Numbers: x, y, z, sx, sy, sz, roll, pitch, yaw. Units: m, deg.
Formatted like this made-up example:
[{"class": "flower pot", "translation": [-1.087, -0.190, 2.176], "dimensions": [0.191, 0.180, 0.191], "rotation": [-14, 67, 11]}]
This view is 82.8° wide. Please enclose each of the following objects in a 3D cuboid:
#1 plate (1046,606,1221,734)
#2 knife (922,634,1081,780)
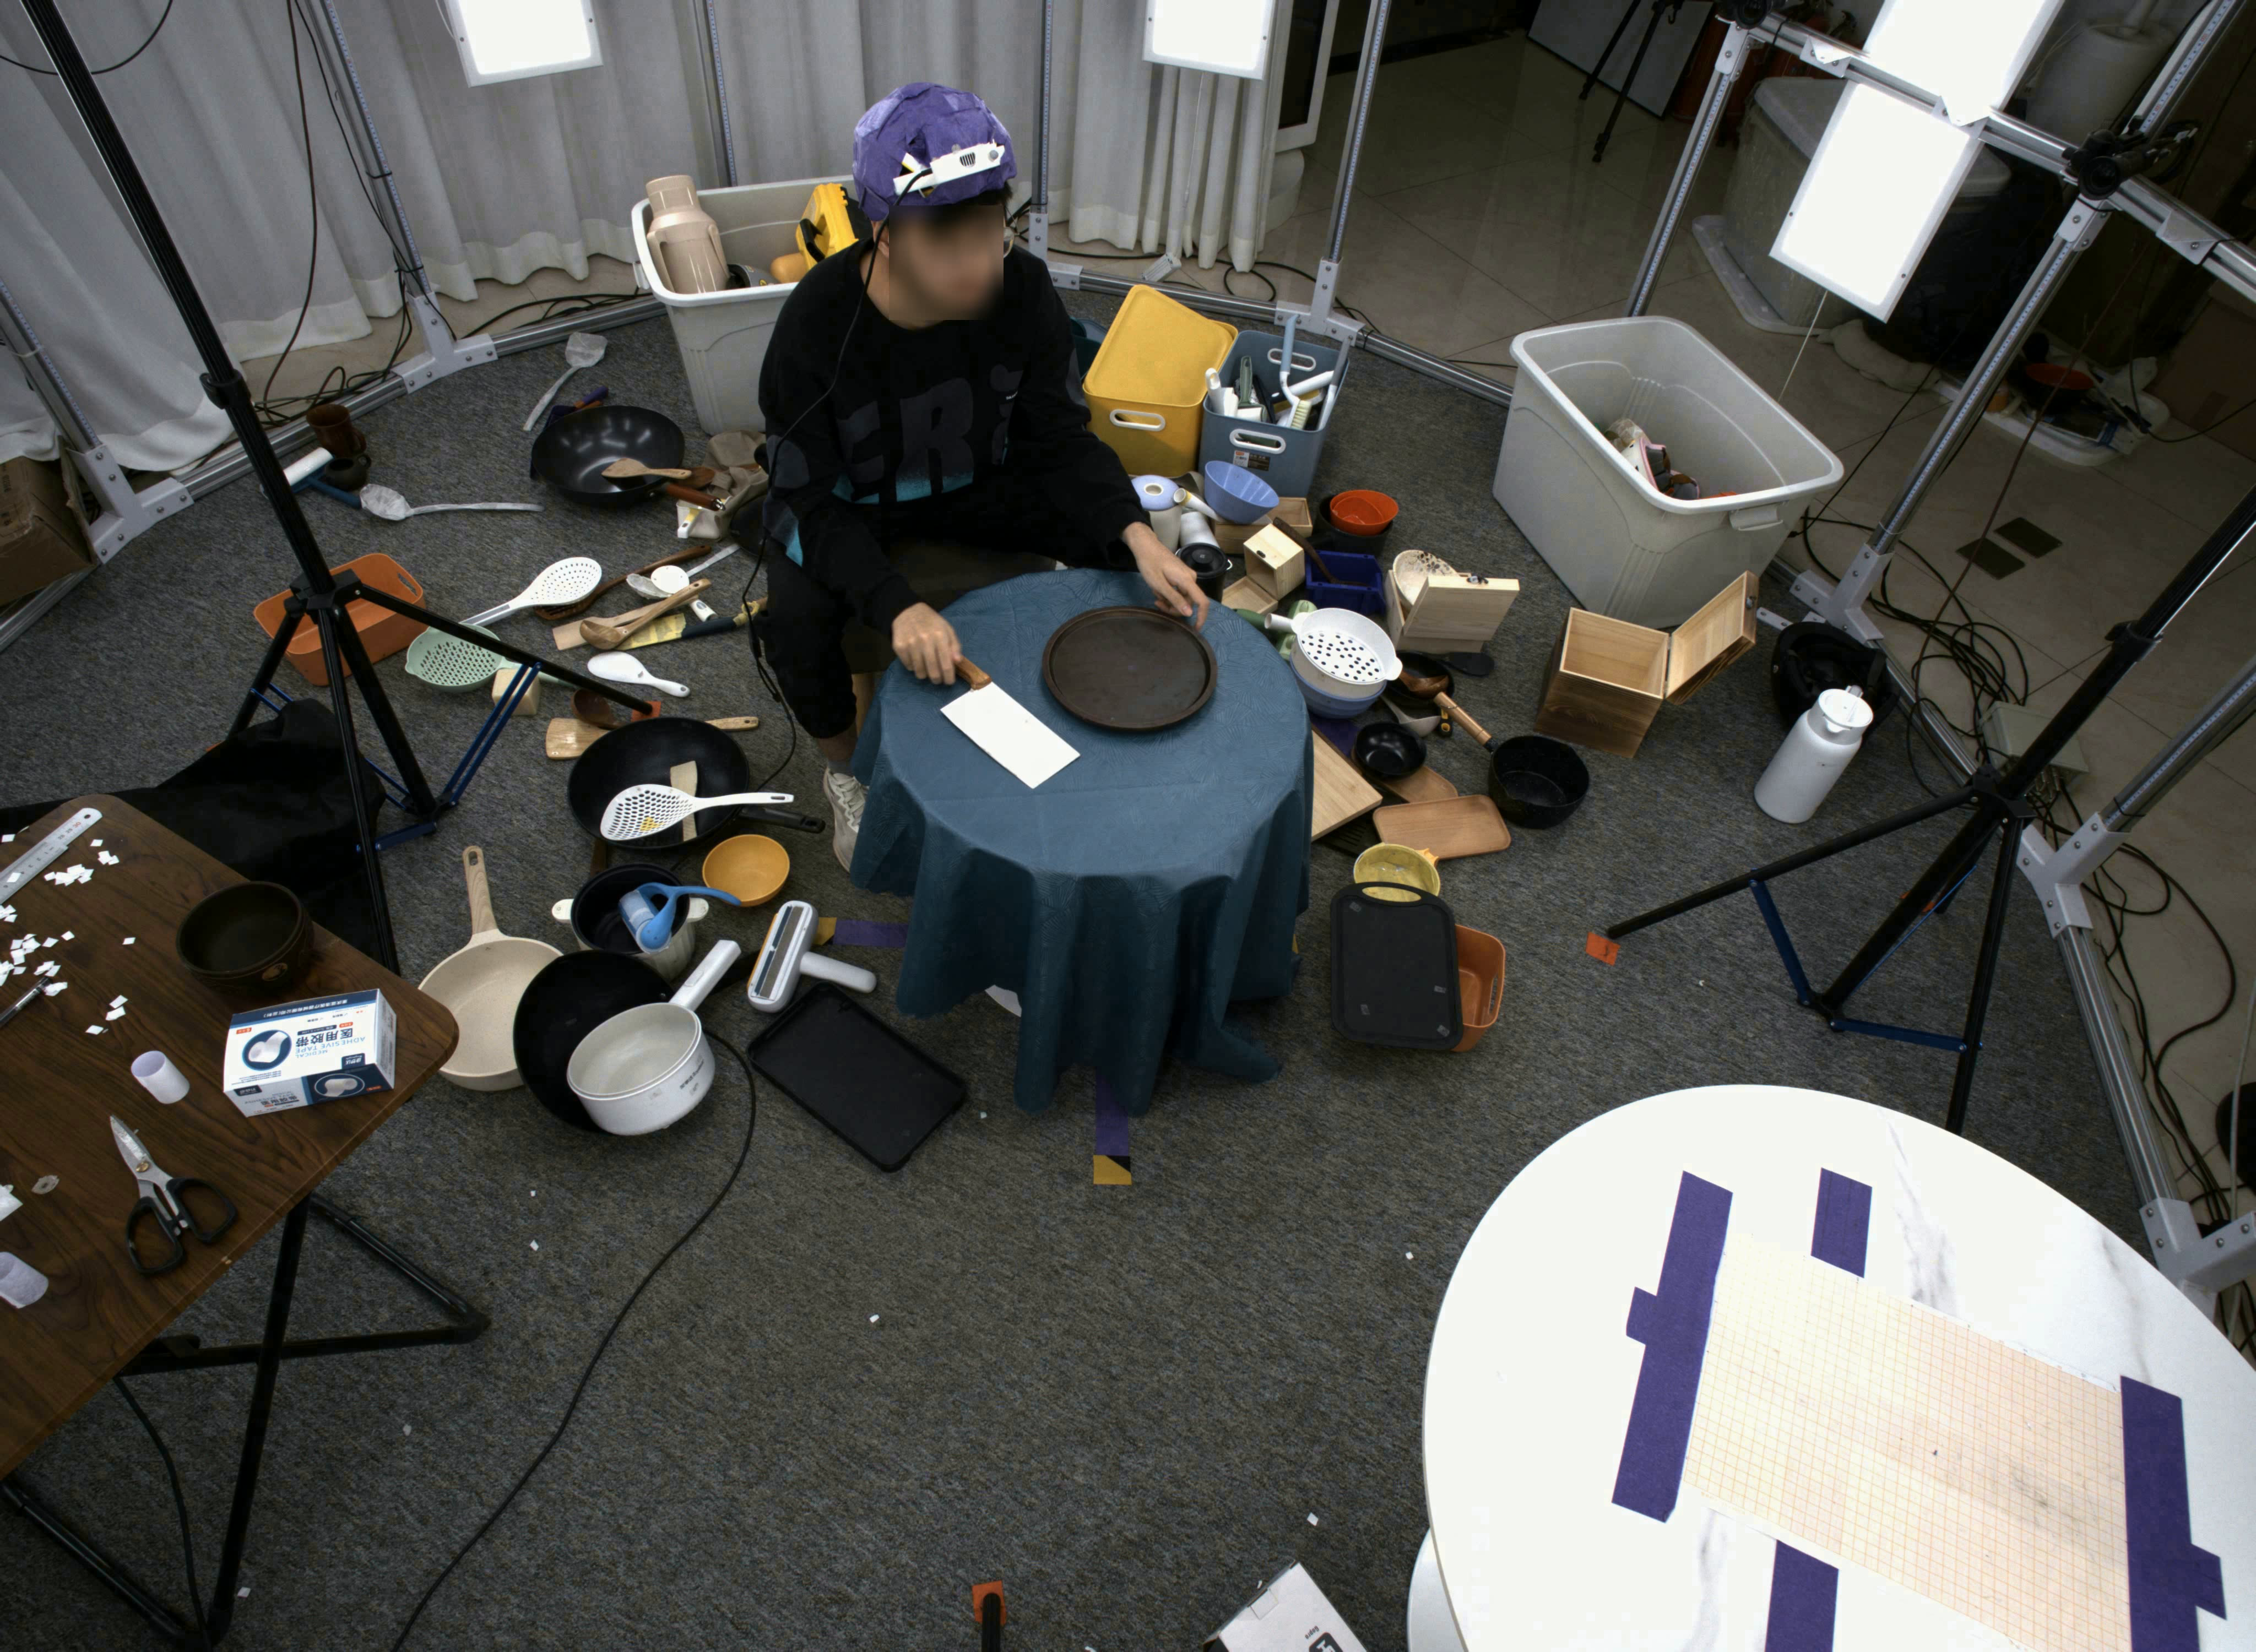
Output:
[{"class": "plate", "translation": [0.008, -0.226, 1.849], "dimensions": [0.254, 0.028, 0.261], "rotation": [3, 49, -3]}, {"class": "knife", "translation": [-0.198, -0.164, 1.788], "dimensions": [0.094, 0.020, 0.310], "rotation": [-36, 62, -28]}]
